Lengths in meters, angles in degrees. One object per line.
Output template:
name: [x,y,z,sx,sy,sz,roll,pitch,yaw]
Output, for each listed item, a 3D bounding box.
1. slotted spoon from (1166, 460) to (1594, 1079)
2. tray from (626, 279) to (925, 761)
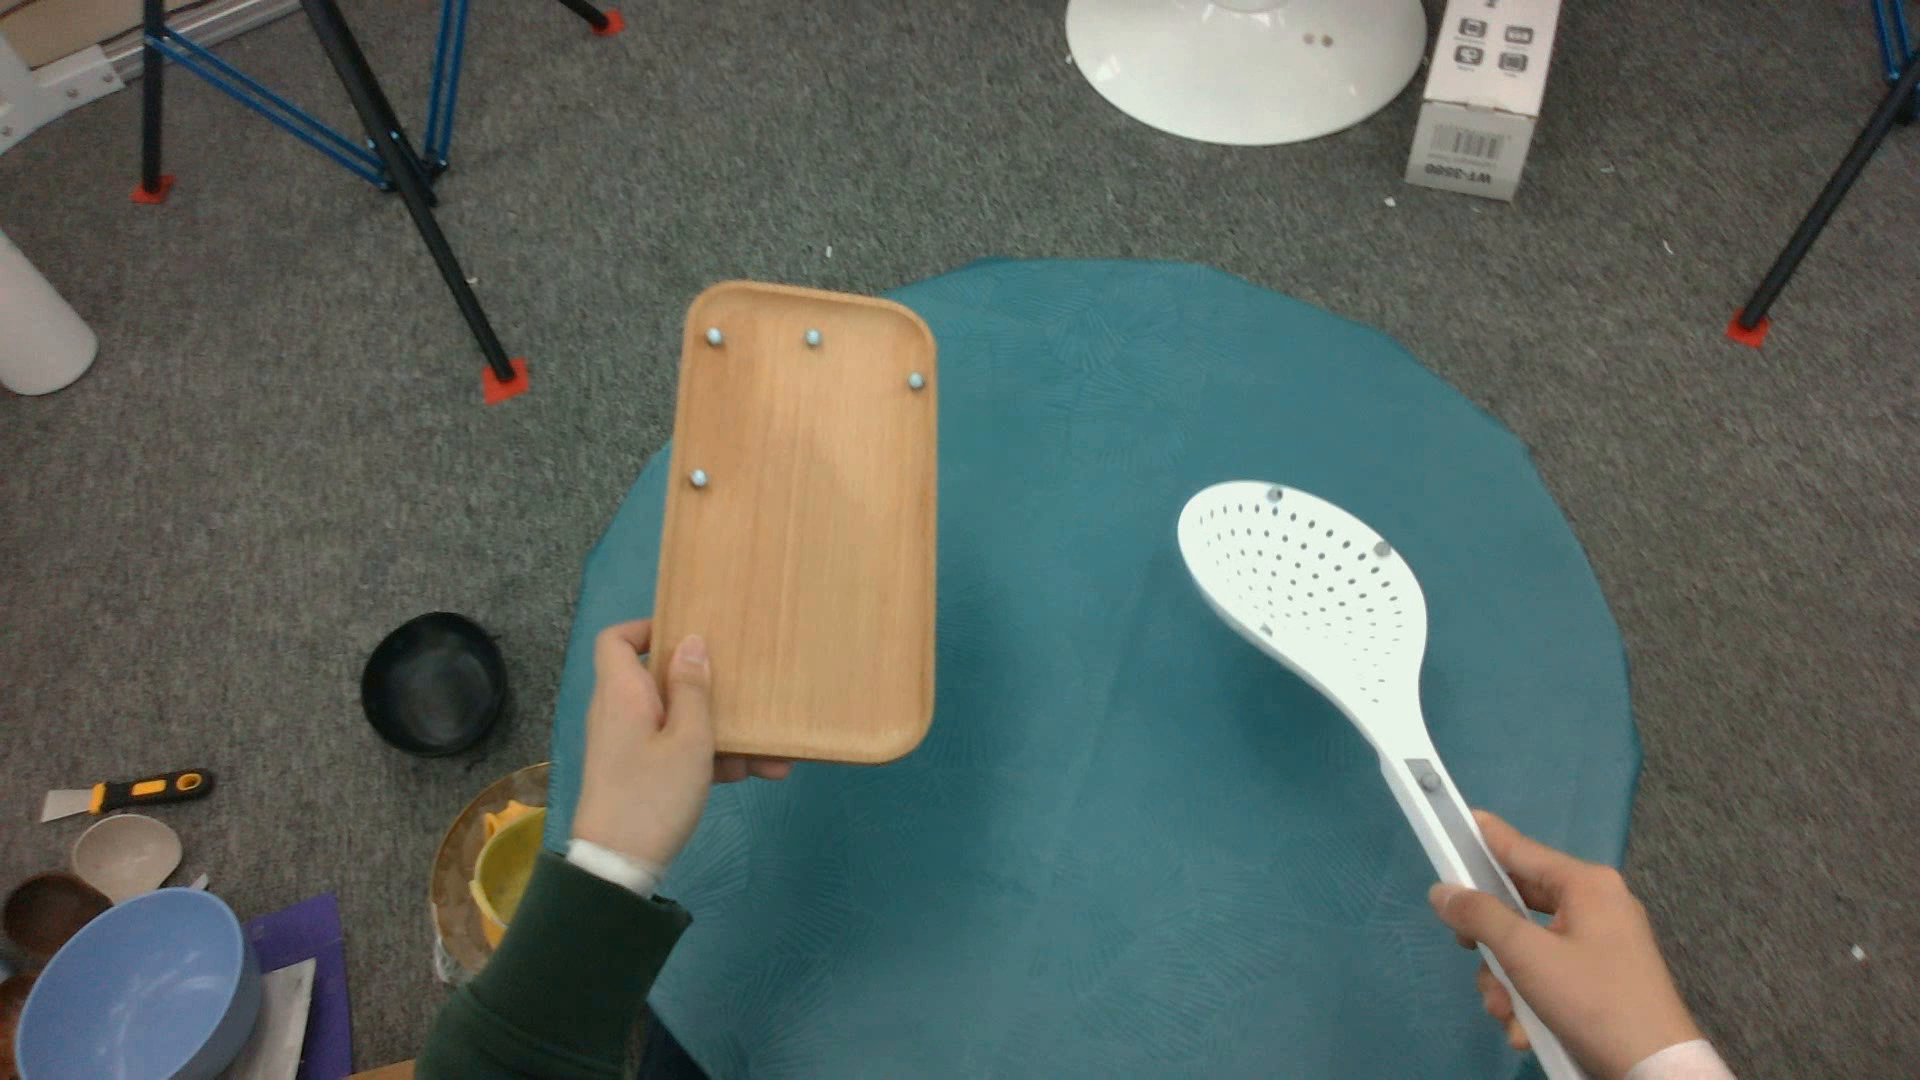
slotted spoon: [0.195,0.086,0.652,0.136,0.045,0.351,3,39,-23]
tray: [-0.082,-0.017,0.657,0.130,0.023,0.251,6,62,-9]
